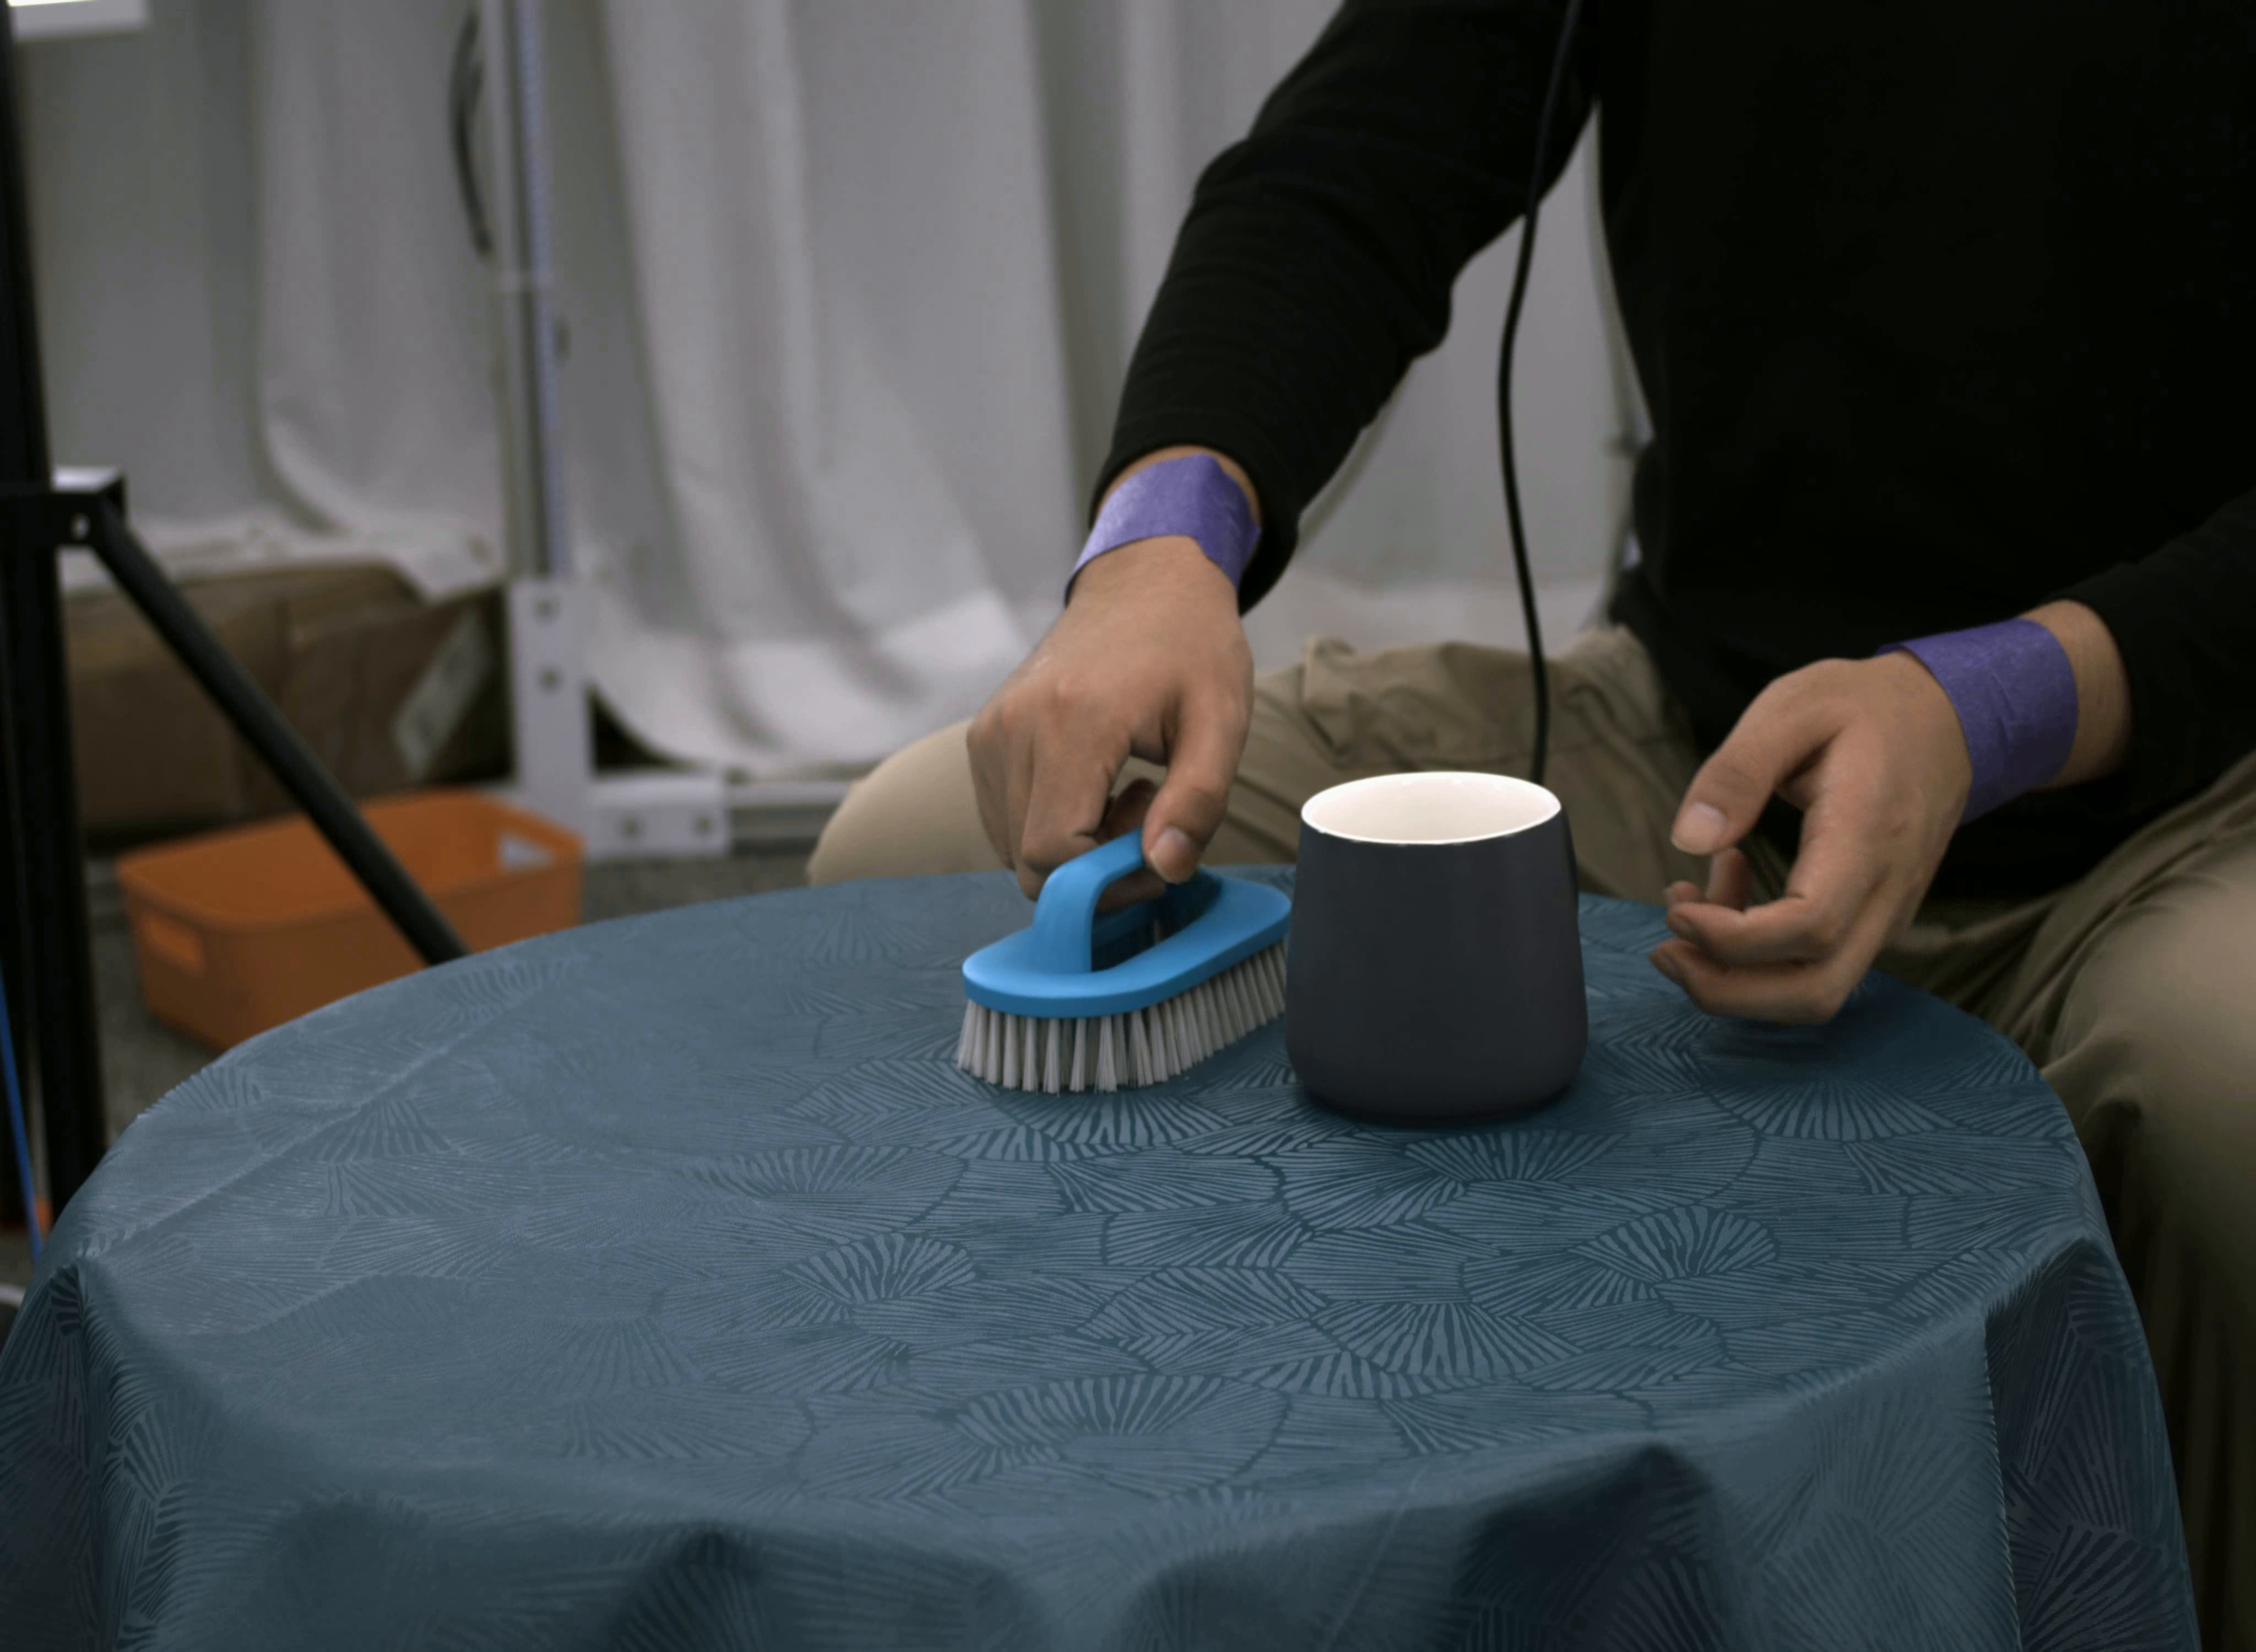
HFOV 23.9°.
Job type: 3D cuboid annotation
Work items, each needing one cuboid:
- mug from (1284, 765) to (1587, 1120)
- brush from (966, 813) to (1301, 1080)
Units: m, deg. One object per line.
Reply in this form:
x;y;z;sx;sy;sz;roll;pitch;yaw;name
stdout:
0.103;0.032;1.638;0.095;0.090;0.121;11;22;37;mug
0.003;0.033;1.701;0.086;0.064;0.139;3;15;34;brush
